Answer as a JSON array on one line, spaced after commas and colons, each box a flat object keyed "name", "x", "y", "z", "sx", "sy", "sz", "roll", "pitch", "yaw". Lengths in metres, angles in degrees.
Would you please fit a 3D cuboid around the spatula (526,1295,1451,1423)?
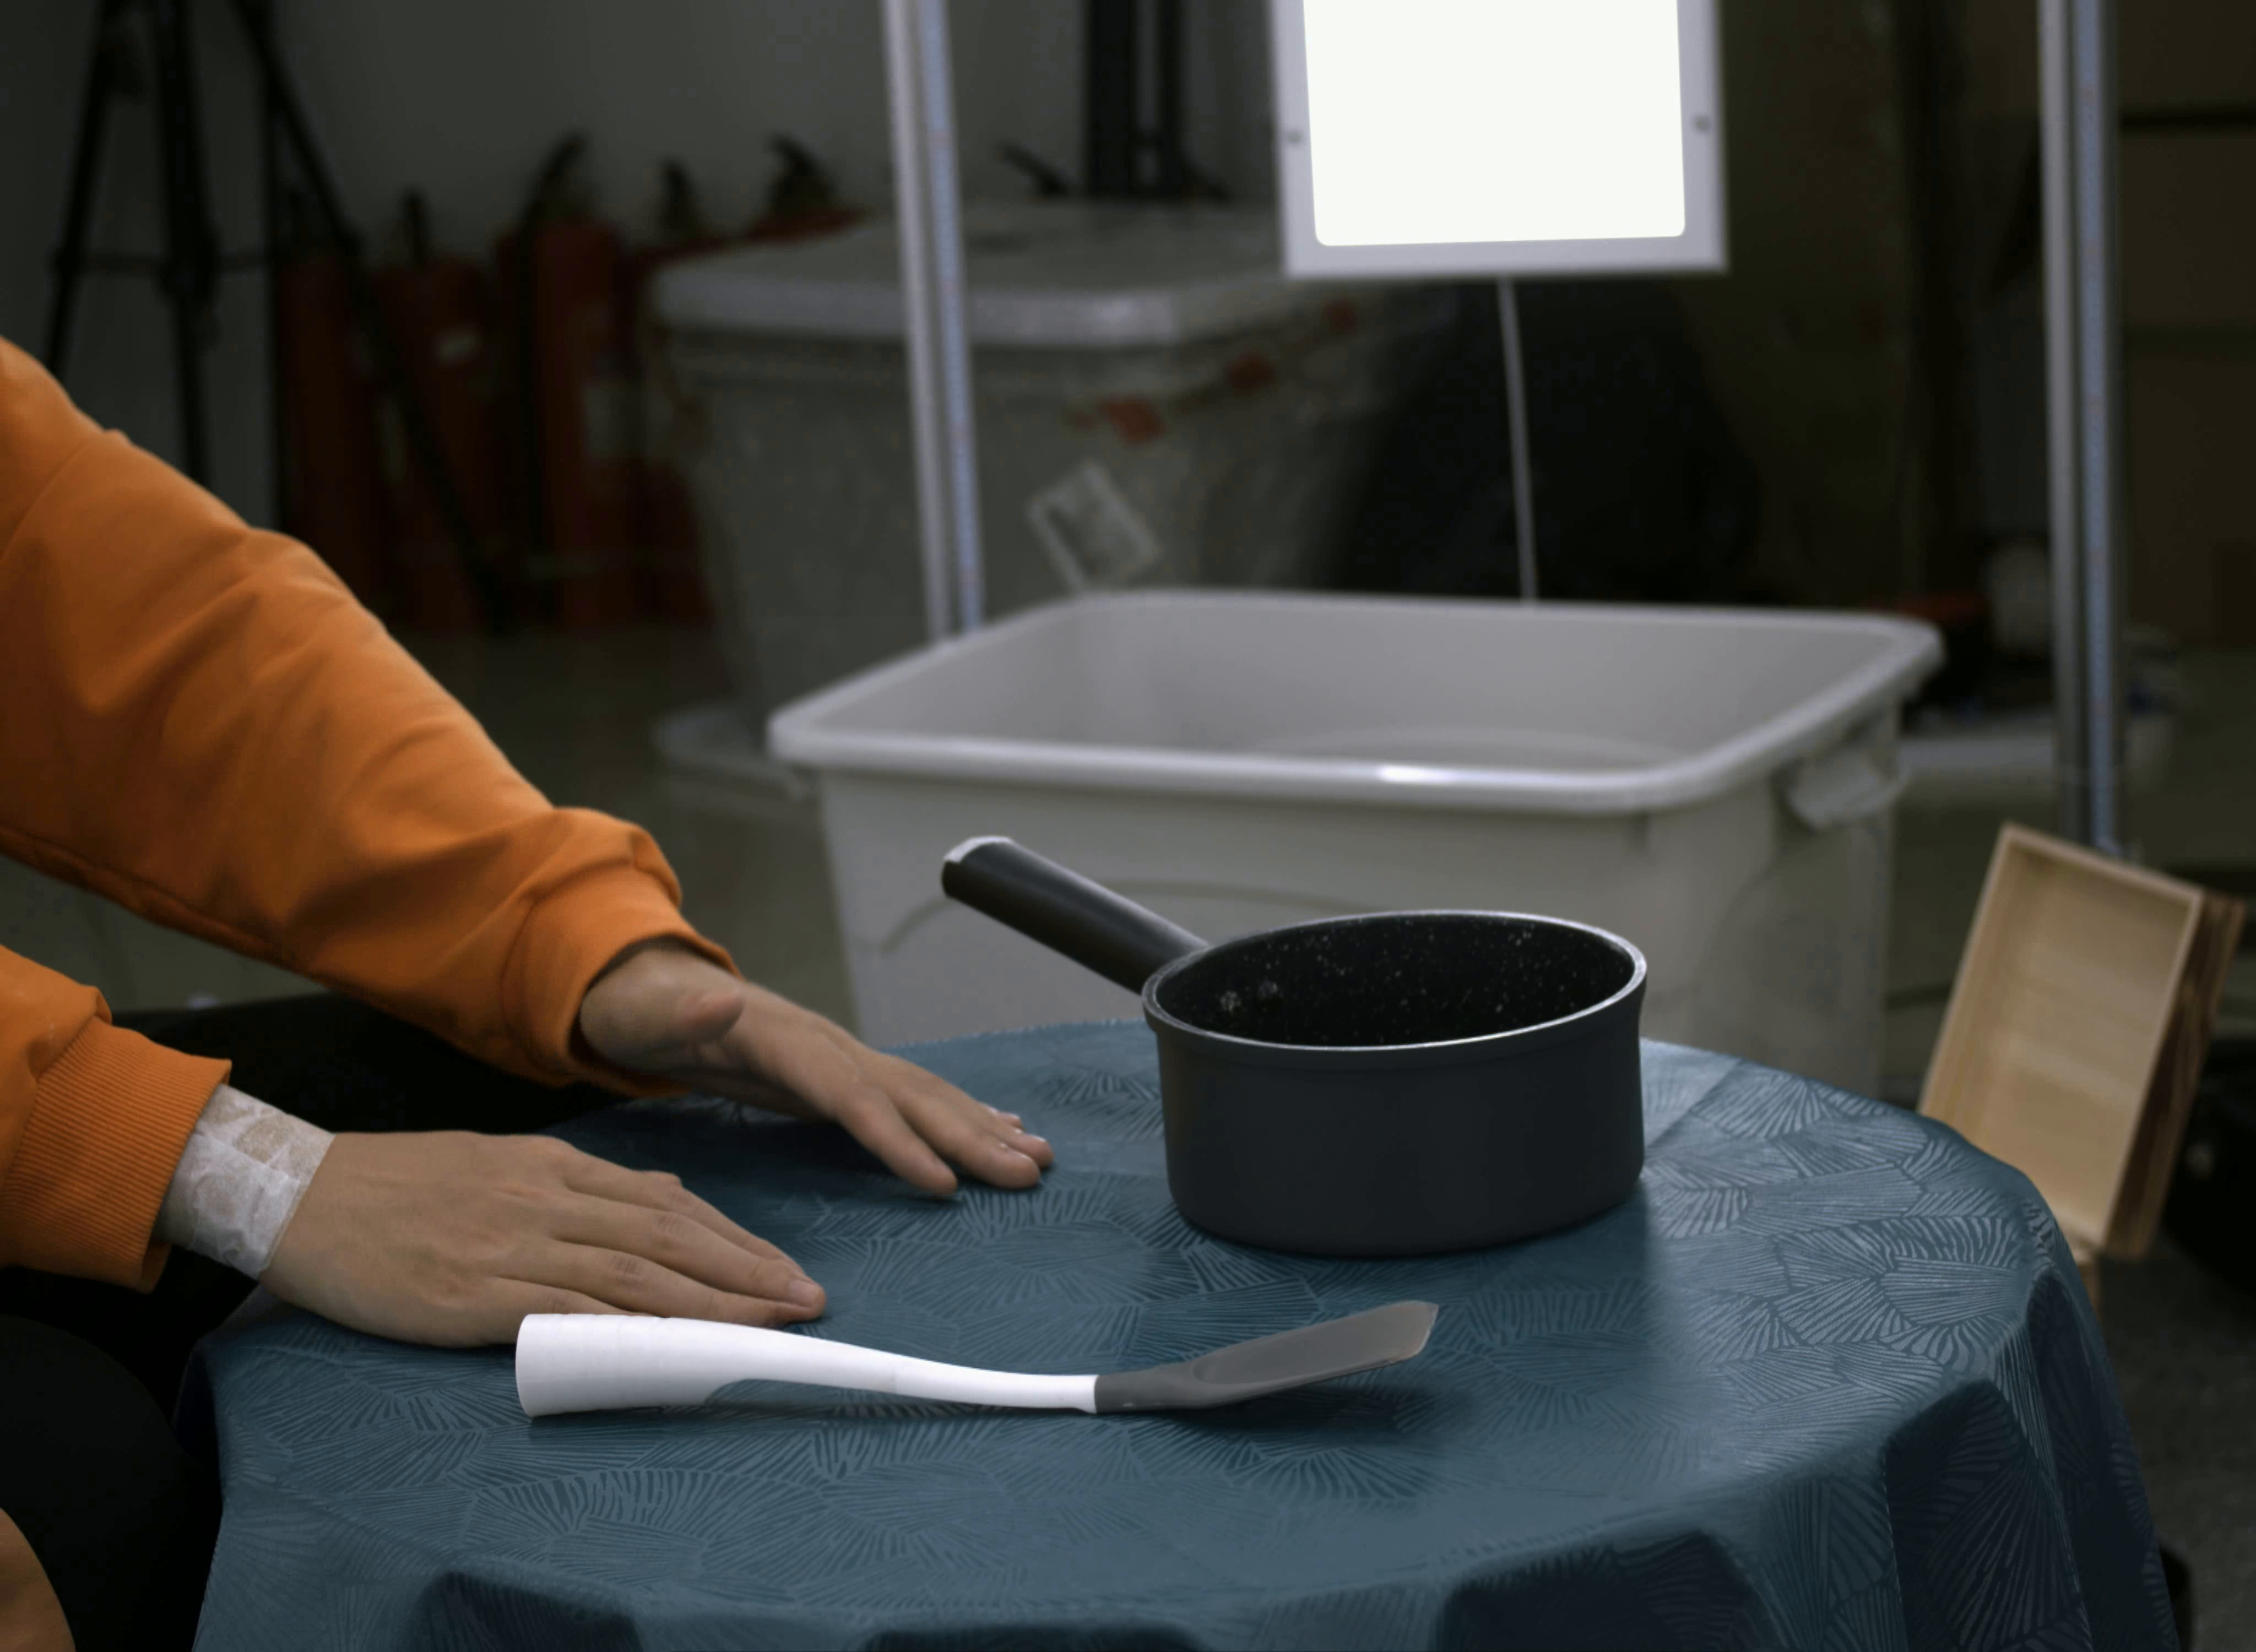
[{"name": "spatula", "x": -0.043, "y": 0.165, "z": 1.692, "sx": 0.290, "sy": 0.032, "sz": 0.058, "roll": -2, "pitch": 10, "yaw": 14}]

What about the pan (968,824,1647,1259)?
[{"name": "pan", "x": 0.046, "y": 0.071, "z": 1.930, "sx": 0.168, "sy": 0.087, "sz": 0.335, "roll": -13, "pitch": 17, "yaw": -32}]
